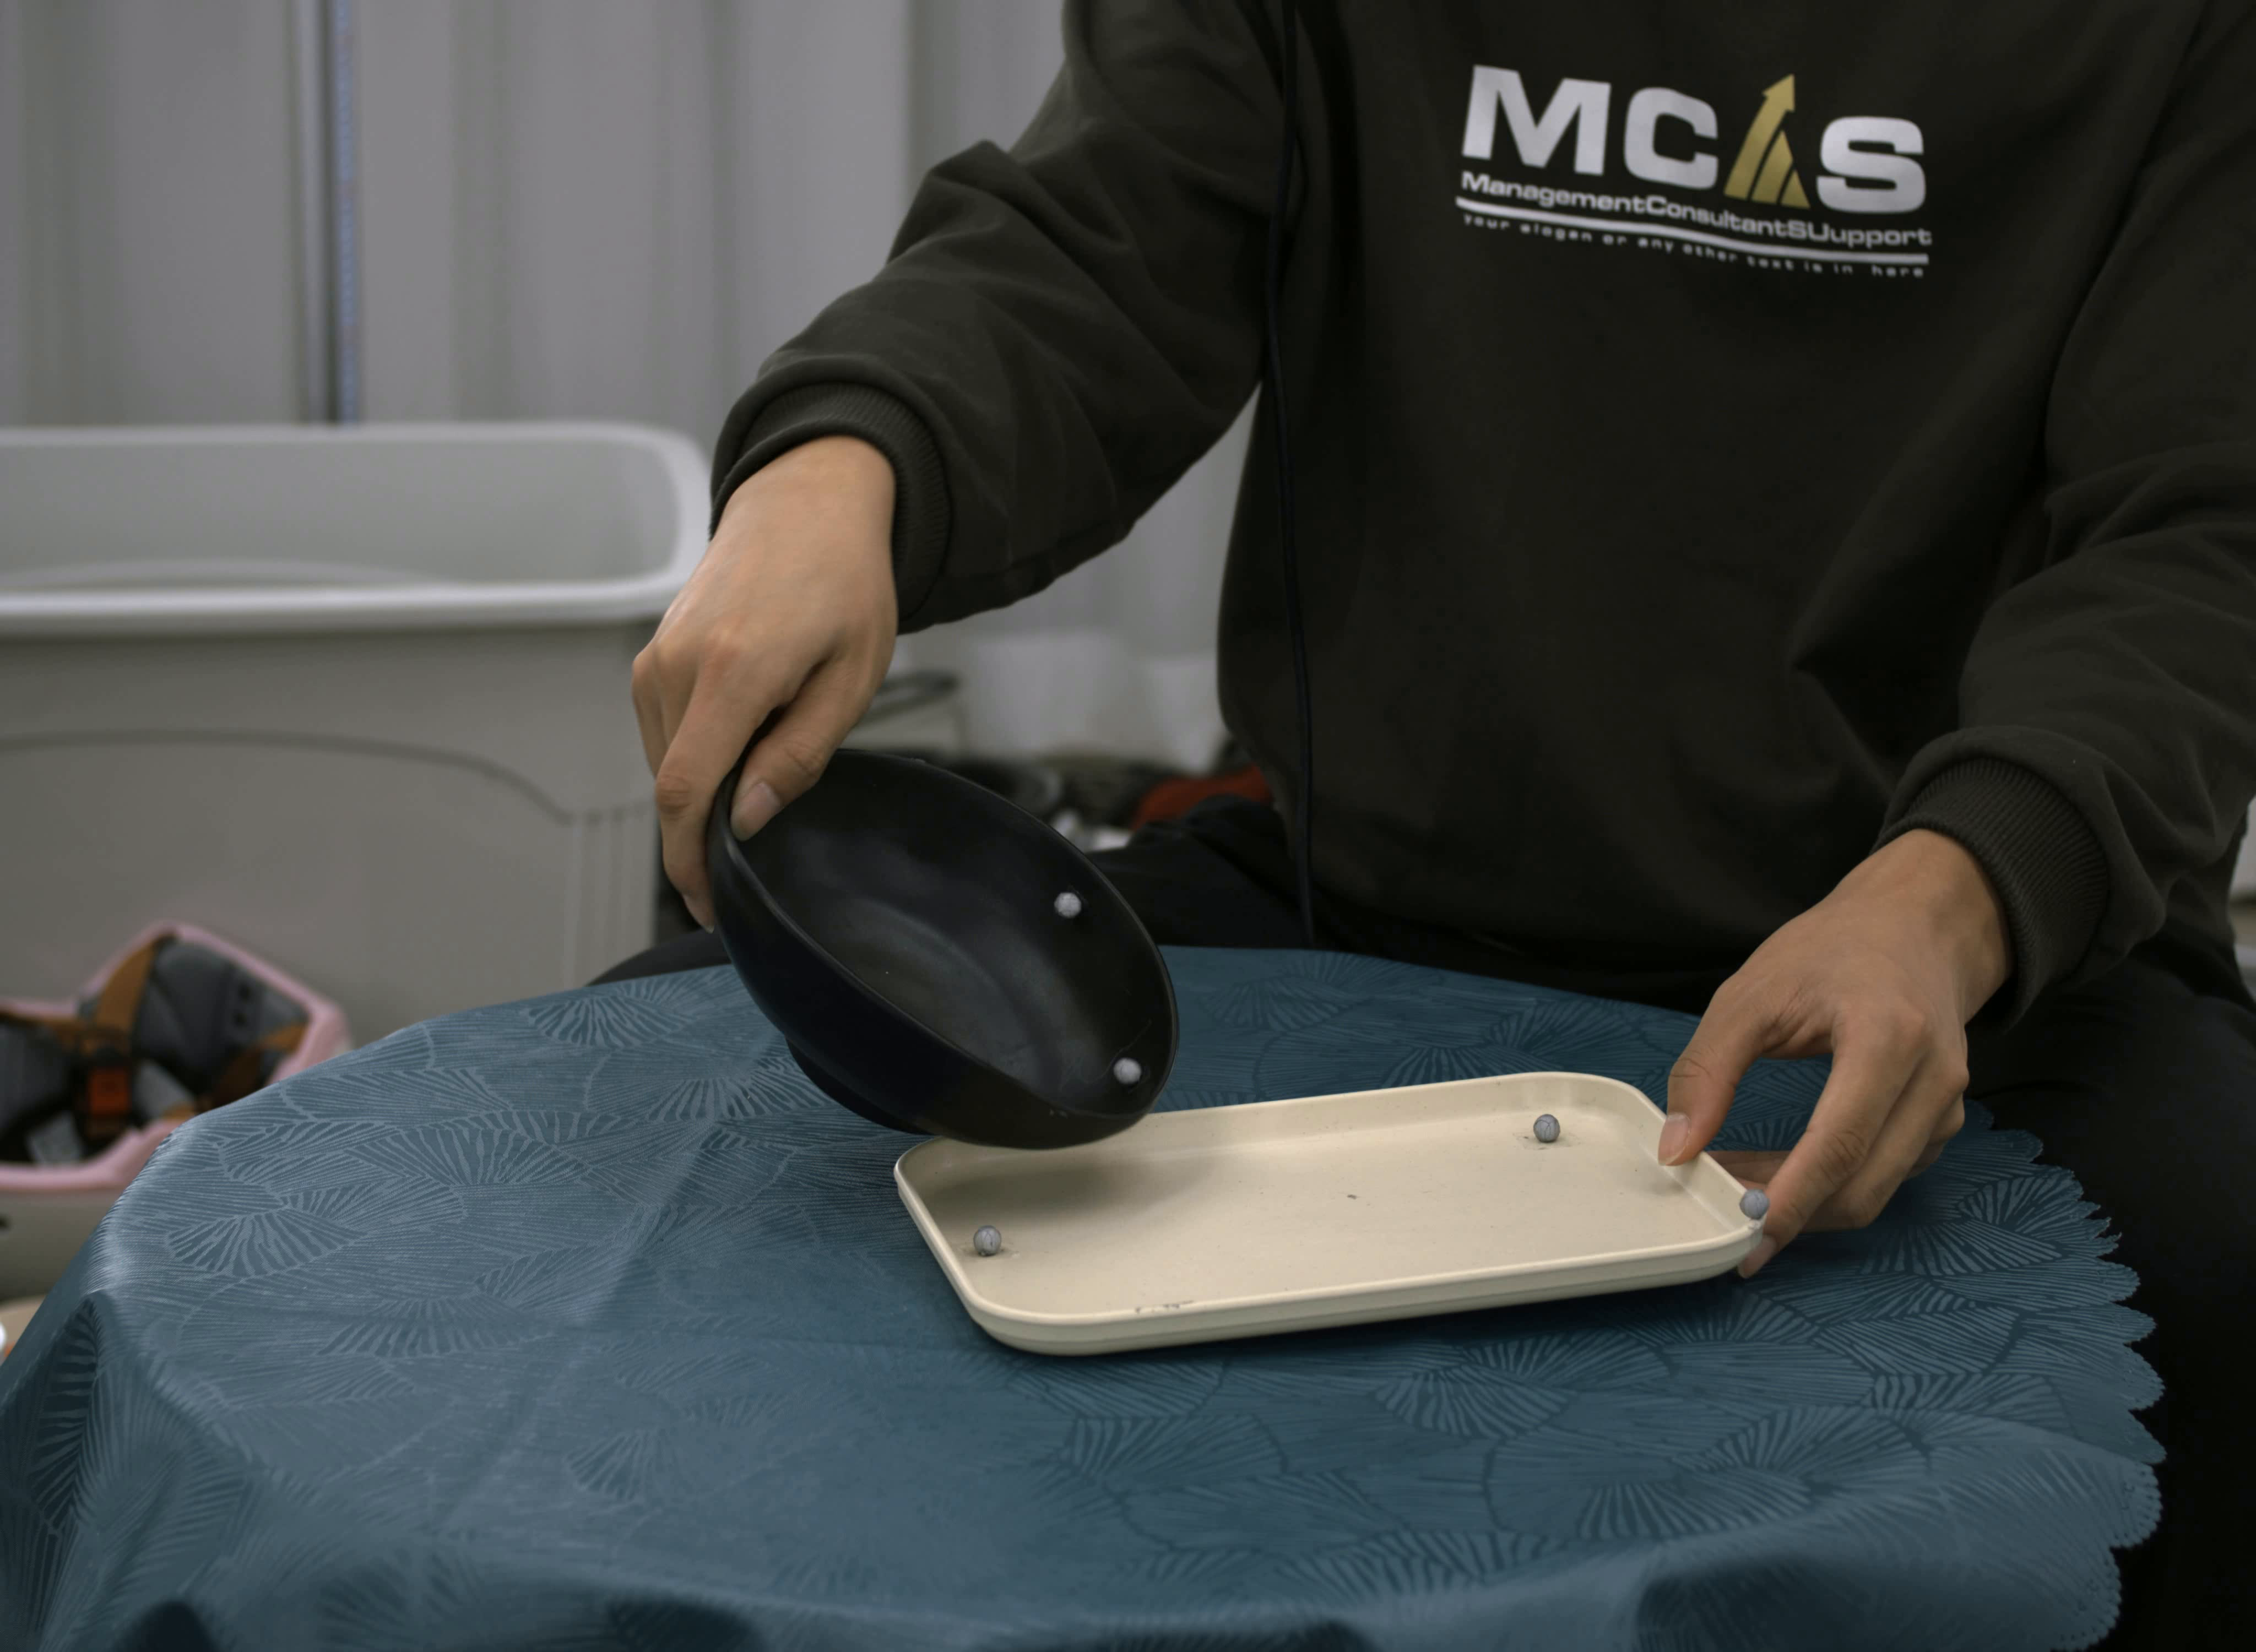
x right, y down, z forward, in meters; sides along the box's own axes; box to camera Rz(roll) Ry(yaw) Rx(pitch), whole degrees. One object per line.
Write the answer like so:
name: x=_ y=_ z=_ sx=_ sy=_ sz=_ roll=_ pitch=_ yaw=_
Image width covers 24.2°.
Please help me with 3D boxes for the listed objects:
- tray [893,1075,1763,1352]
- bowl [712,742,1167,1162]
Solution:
tray: x=0.058 y=0.115 z=1.575 sx=0.240 sy=0.017 sz=0.169 roll=-5 pitch=15 yaw=-13
bowl: x=-0.064 y=0.049 z=1.628 sx=0.169 sy=0.067 sz=0.138 roll=42 pitch=33 yaw=15
